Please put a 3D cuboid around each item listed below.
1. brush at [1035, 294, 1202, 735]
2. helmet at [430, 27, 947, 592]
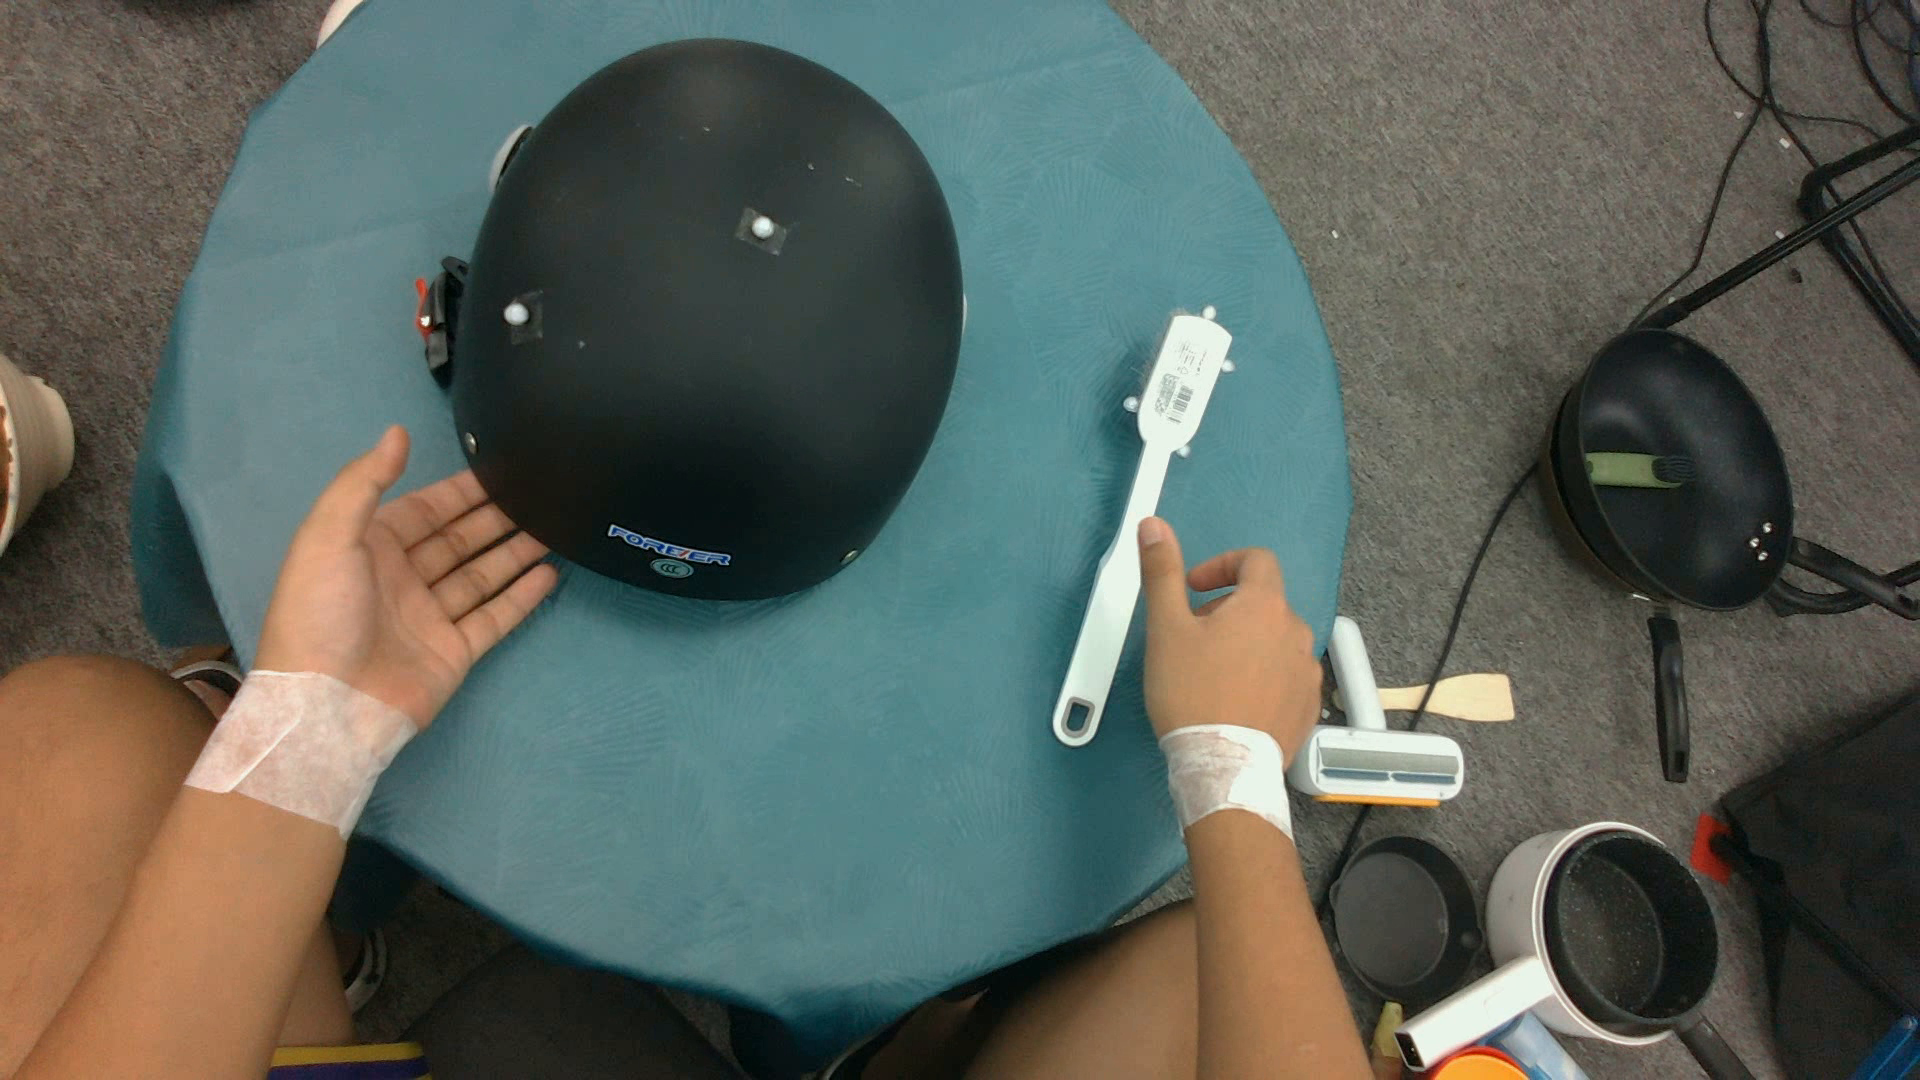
[{"bbox_3d":[0.079,-0.016,0.725,0.034,0.050,0.244,17,82,-5],"label":"brush"},{"bbox_3d":[-0.109,-0.120,0.616,0.230,0.166,0.274,20,67,-17],"label":"helmet"}]
